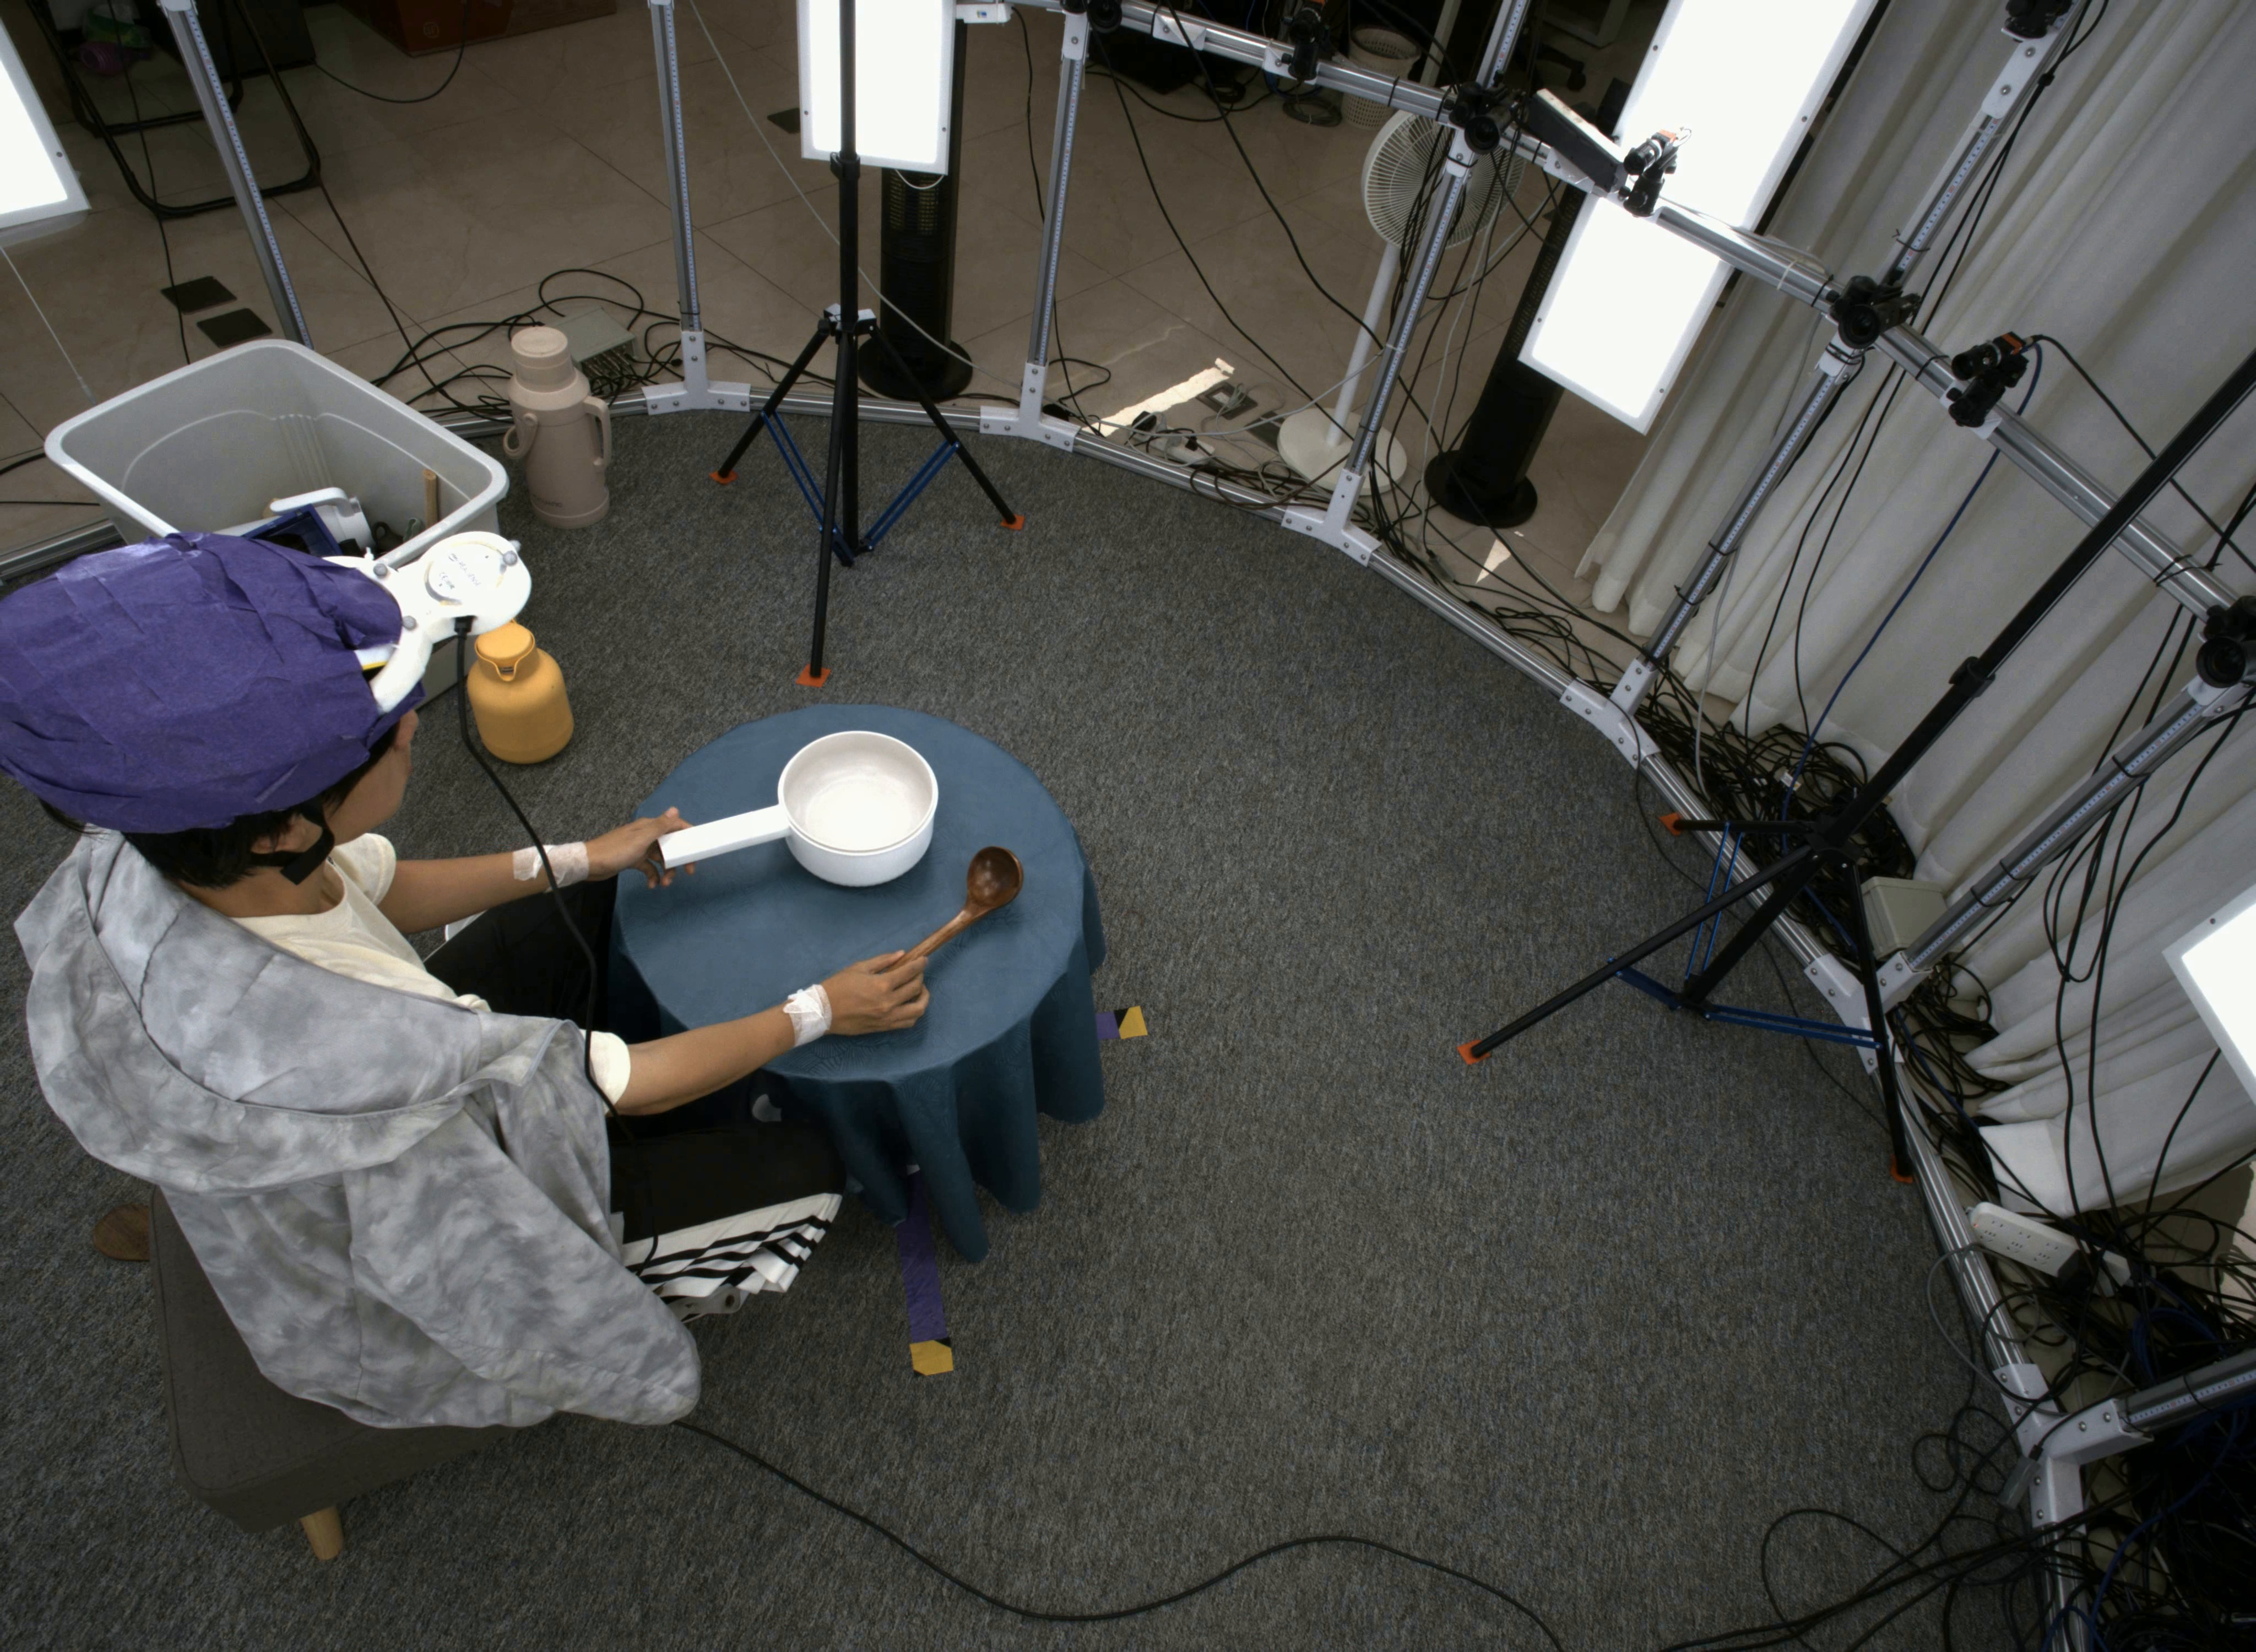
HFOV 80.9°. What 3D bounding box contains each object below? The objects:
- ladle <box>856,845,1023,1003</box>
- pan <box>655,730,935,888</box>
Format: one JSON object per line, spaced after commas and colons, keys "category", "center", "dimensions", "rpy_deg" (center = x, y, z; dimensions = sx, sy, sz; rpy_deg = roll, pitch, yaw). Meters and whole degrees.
{"category": "ladle", "center": [-0.233, 0.114, 1.611], "dimensions": [0.079, 0.079, 0.275], "rpy_deg": [21, 40, 31]}
{"category": "pan", "center": [-0.420, 0.003, 1.661], "dimensions": [0.356, 0.104, 0.196], "rpy_deg": [-17, 60, -24]}
